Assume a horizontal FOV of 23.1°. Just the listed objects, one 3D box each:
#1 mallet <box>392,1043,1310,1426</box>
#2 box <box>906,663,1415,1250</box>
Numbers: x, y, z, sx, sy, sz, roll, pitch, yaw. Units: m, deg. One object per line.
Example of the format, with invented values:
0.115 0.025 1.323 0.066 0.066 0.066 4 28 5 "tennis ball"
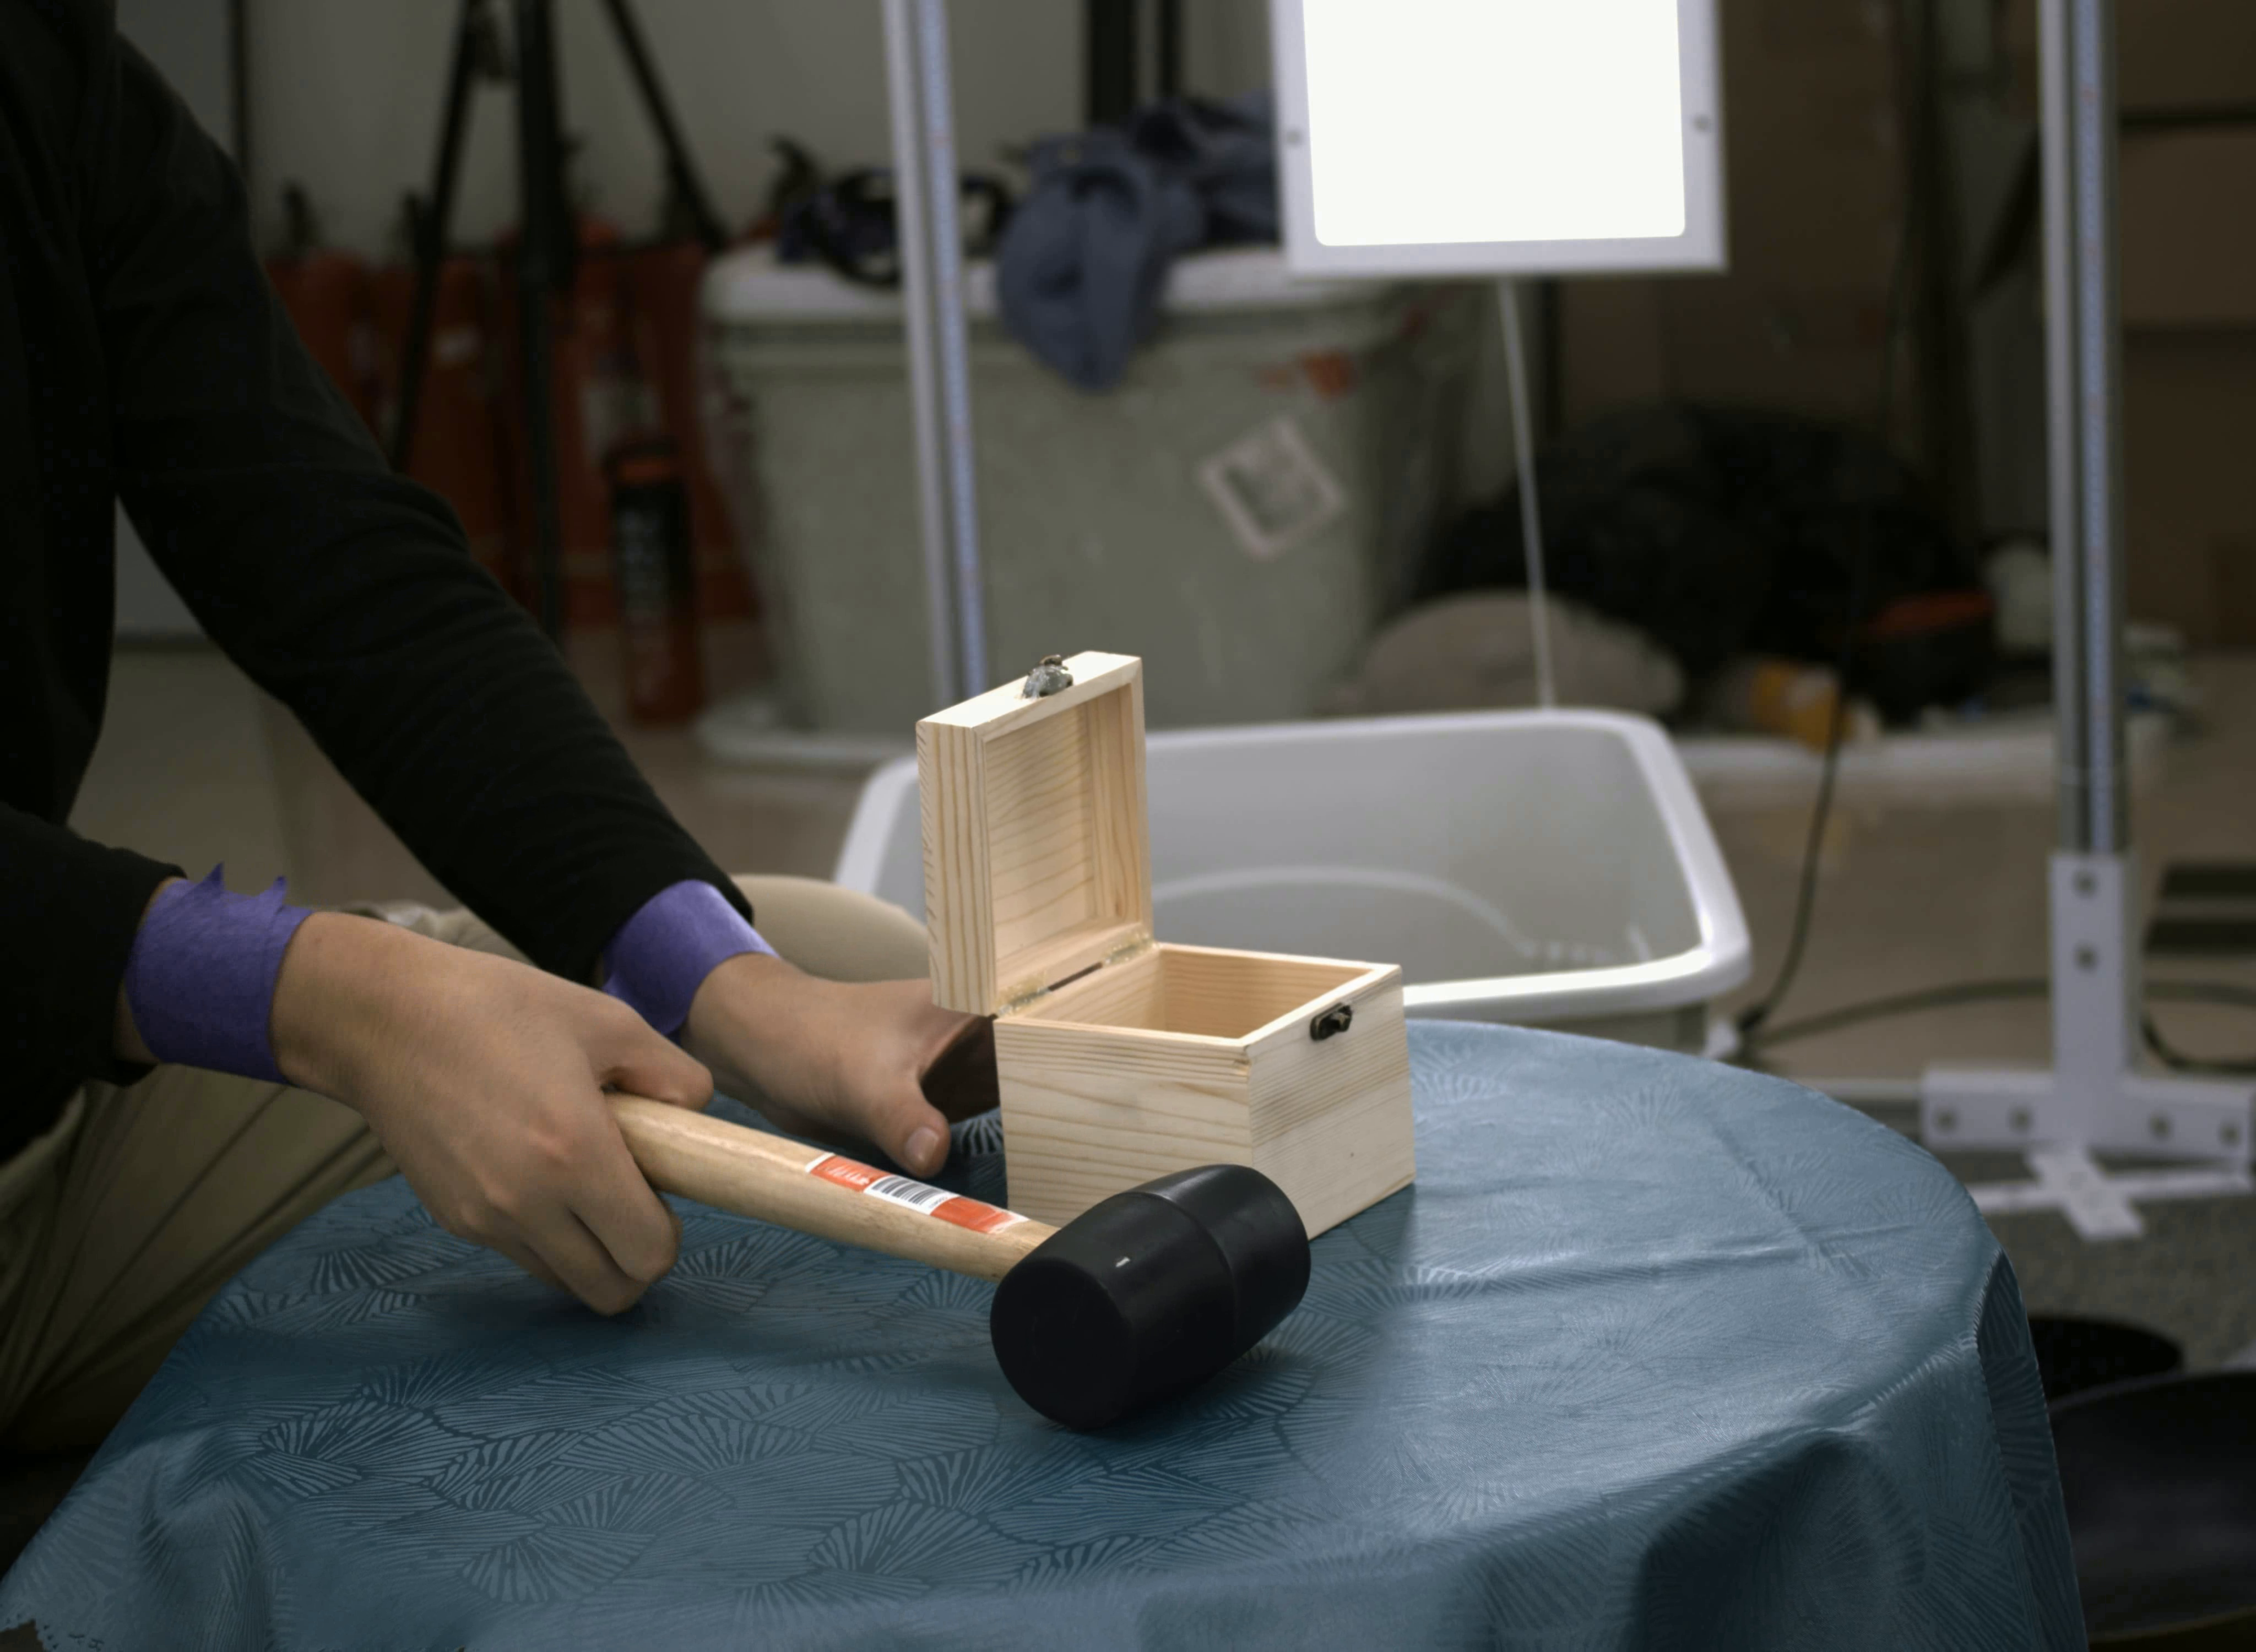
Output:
-0.104 0.111 1.772 0.345 0.064 0.099 17 21 35 "mallet"
0.014 0.043 1.856 0.137 0.185 0.100 2 14 36 "box"
